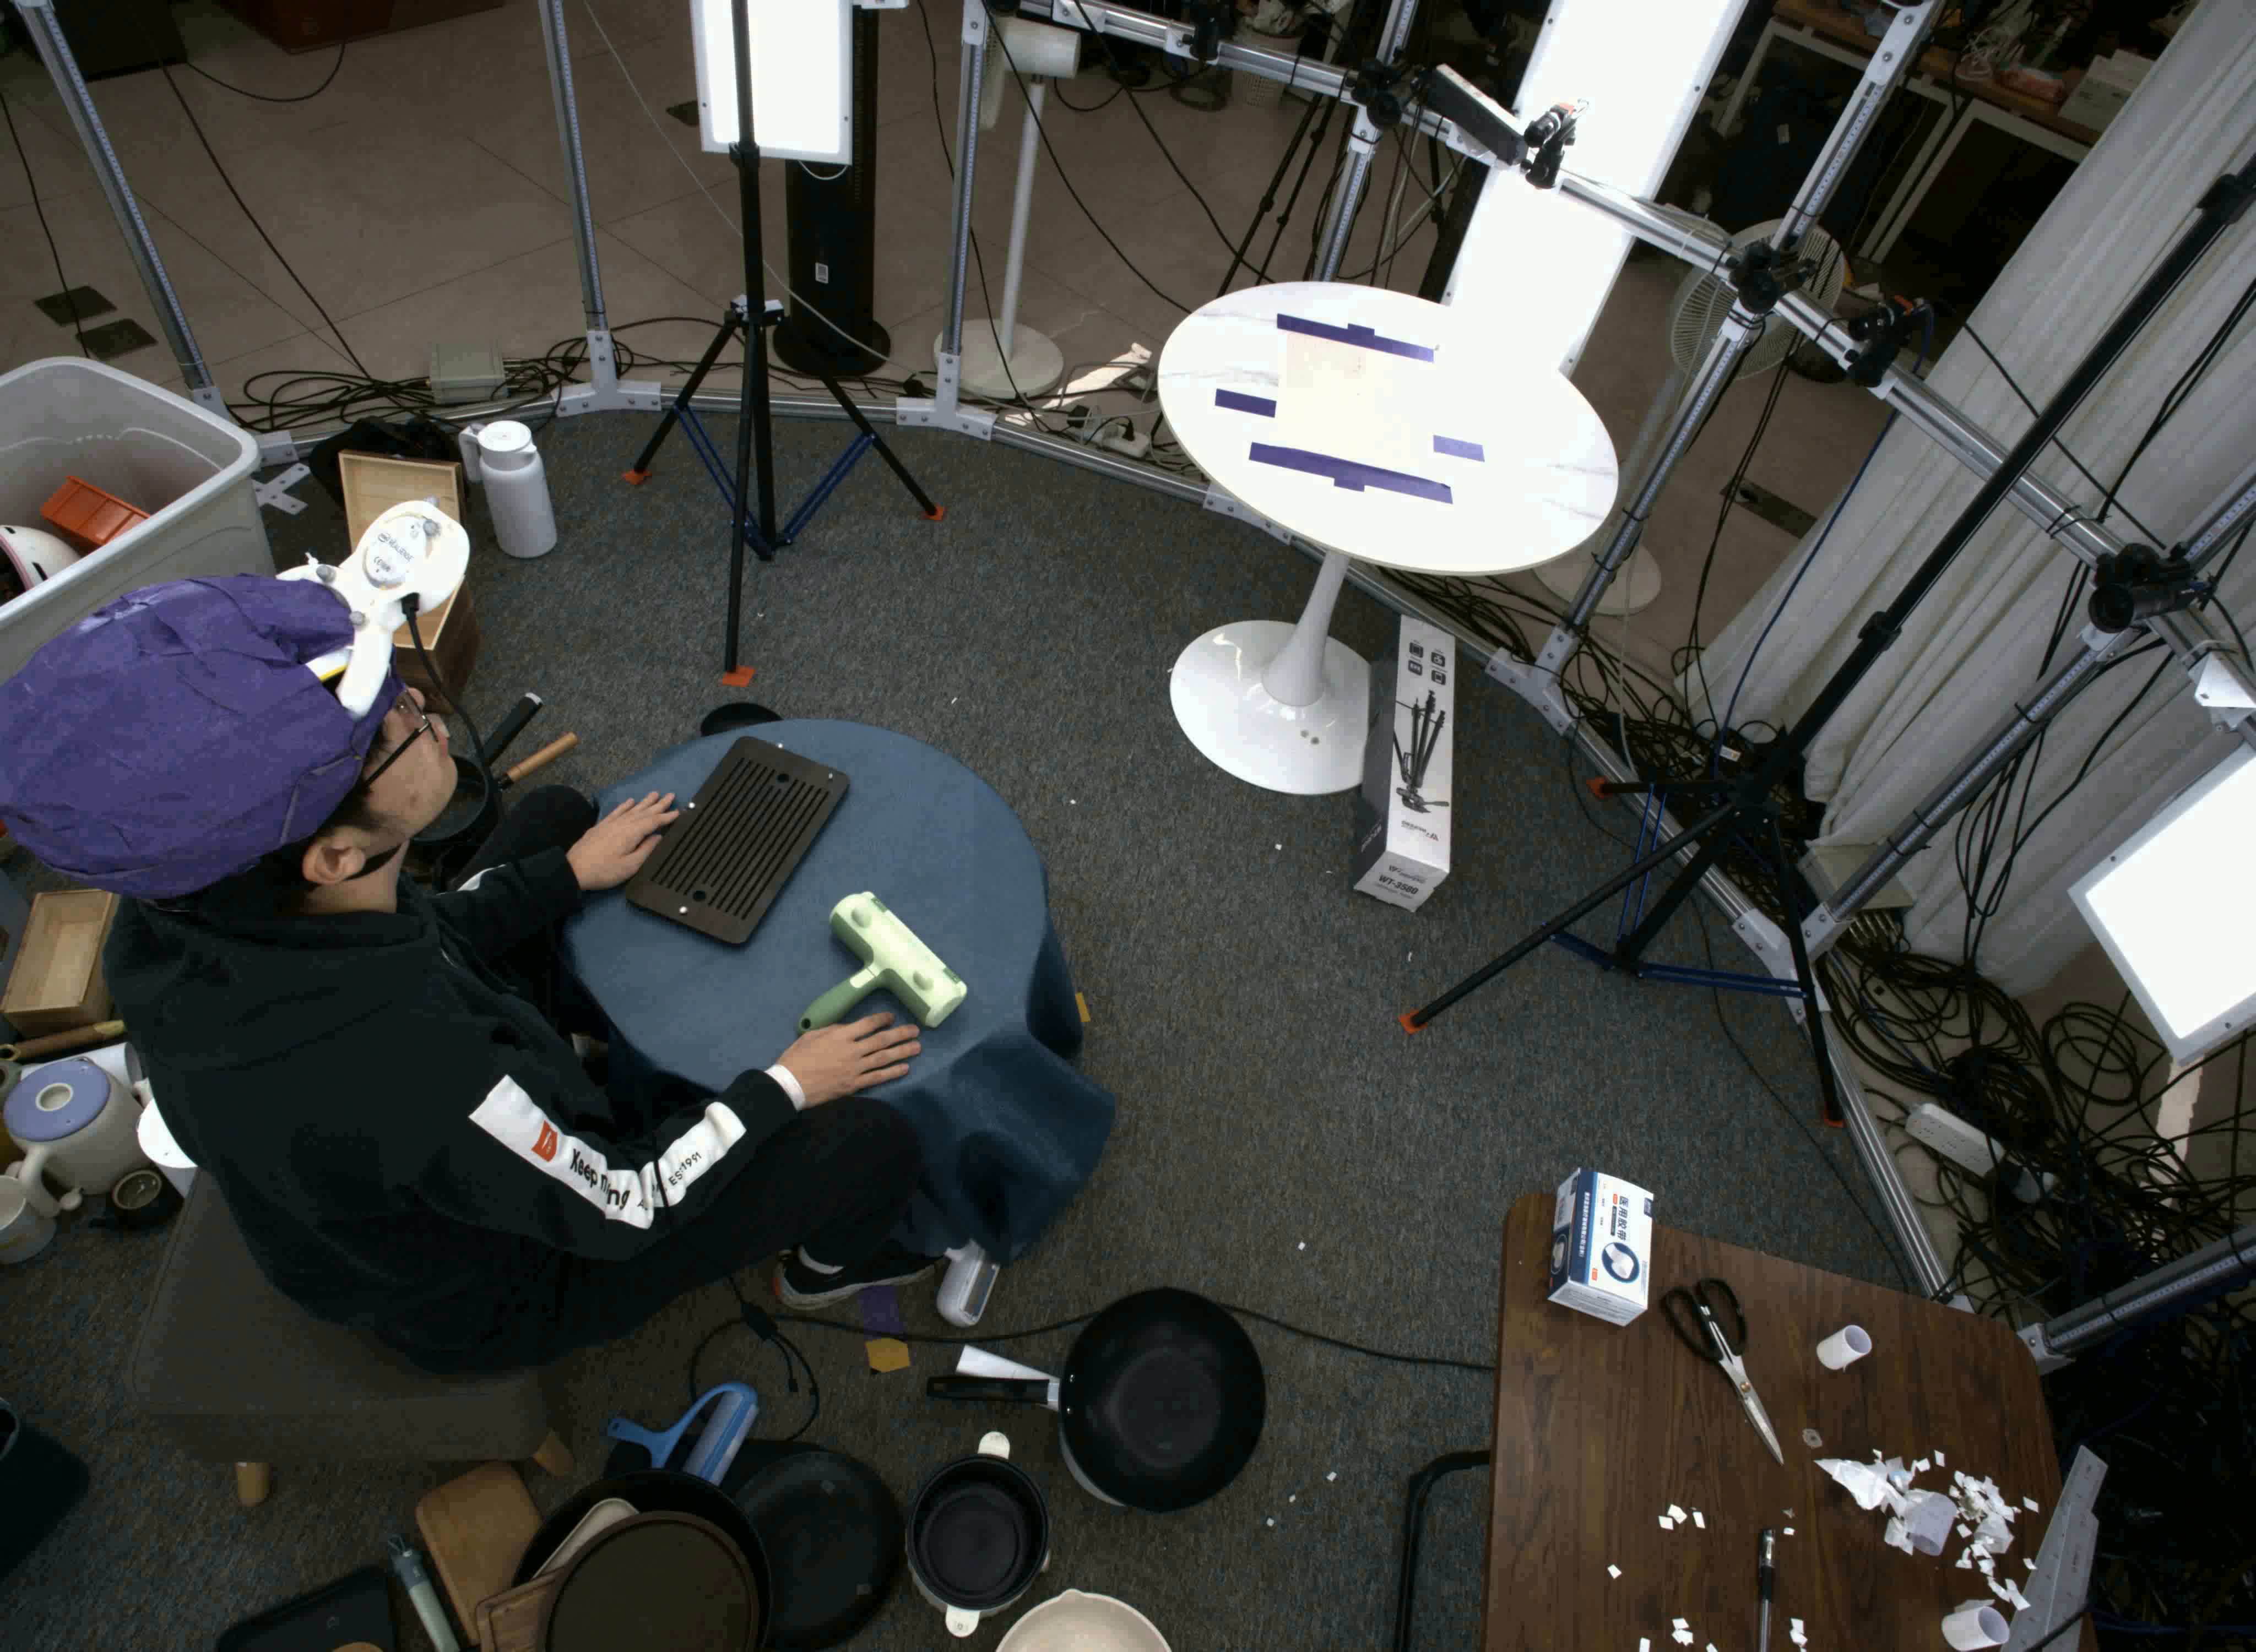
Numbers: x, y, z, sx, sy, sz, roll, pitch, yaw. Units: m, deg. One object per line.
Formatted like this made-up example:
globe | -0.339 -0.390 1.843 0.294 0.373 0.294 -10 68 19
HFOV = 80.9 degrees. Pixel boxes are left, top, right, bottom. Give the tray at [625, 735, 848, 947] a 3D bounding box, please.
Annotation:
tray | -0.506 0.013 1.687 0.168 0.019 0.303 23 52 2

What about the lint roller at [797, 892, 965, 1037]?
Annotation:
lint roller | -0.325 0.182 1.570 0.194 0.084 0.184 42 52 17
